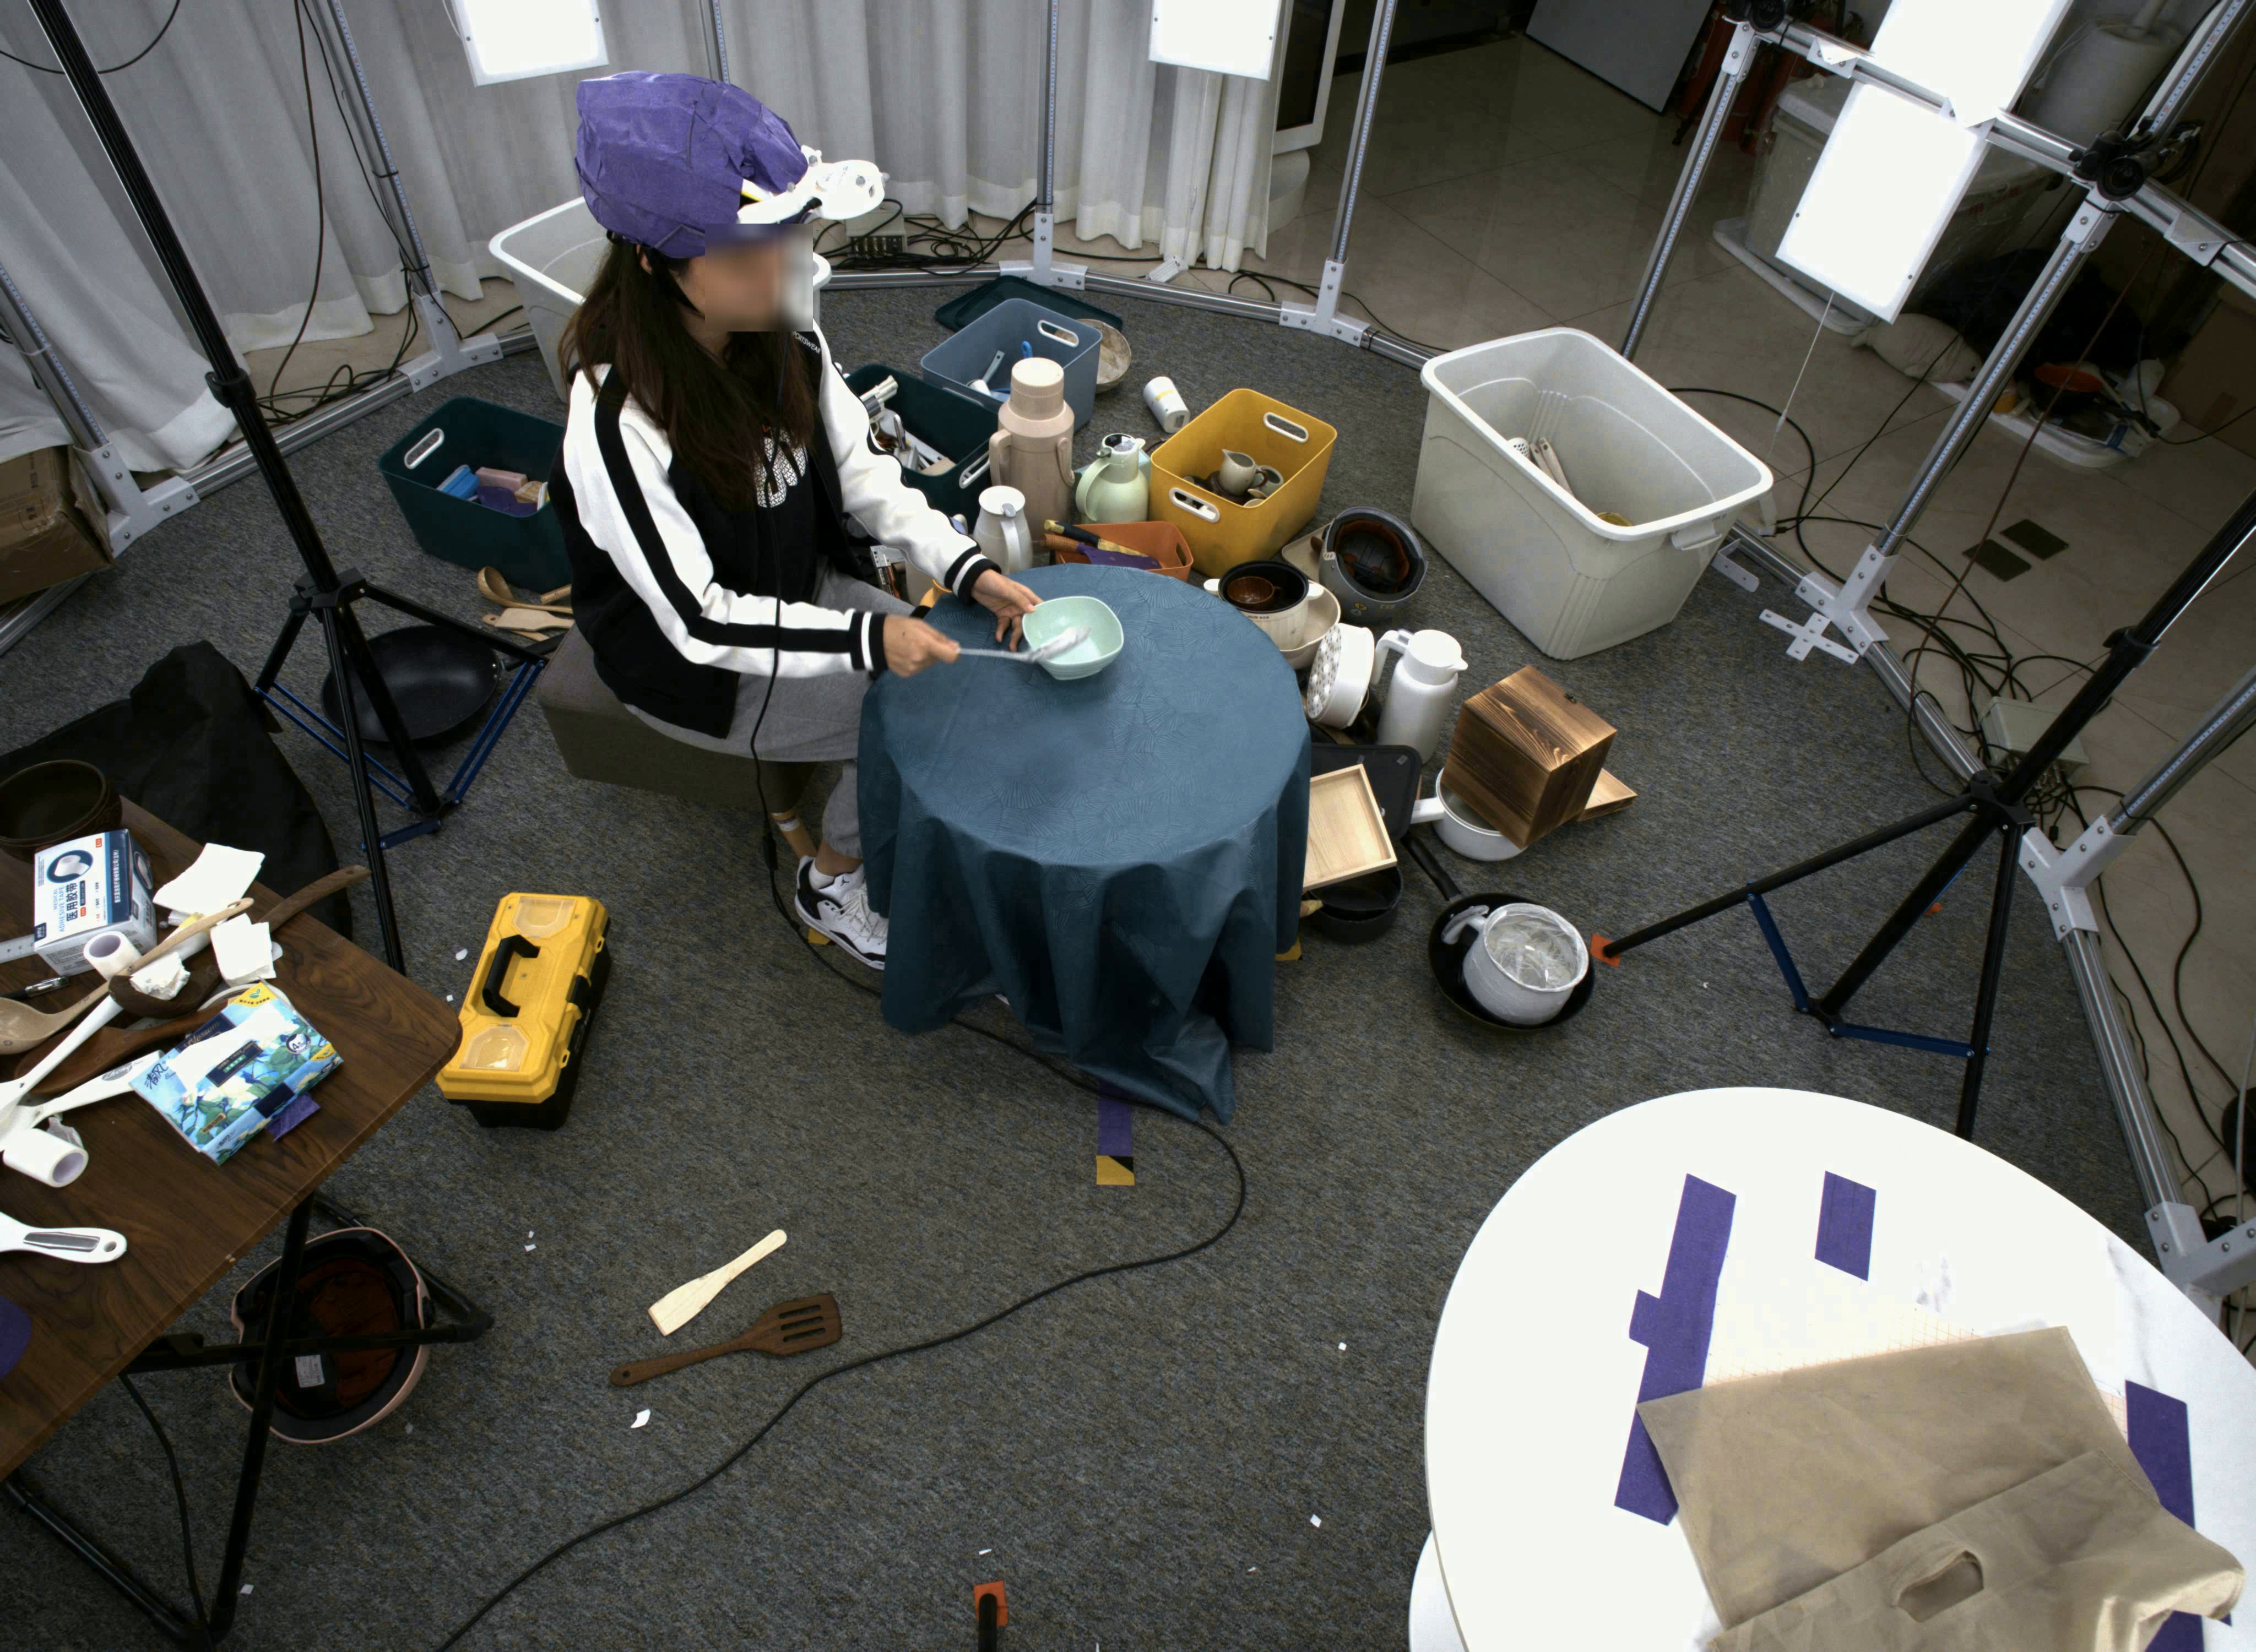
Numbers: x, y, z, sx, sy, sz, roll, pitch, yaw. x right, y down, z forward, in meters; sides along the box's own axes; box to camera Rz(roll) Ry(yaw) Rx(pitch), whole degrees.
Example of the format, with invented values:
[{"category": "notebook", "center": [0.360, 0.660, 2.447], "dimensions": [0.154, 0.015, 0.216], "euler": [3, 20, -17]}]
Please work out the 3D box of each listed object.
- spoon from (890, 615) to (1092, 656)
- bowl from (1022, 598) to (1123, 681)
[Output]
[{"category": "spoon", "center": [-0.182, -0.261, 1.691], "dimensions": [0.278, 0.059, 0.101], "euler": [9, 12, 16]}, {"category": "bowl", "center": [-0.081, -0.261, 1.857], "dimensions": [0.151, 0.057, 0.155], "euler": [2, 49, -2]}]
